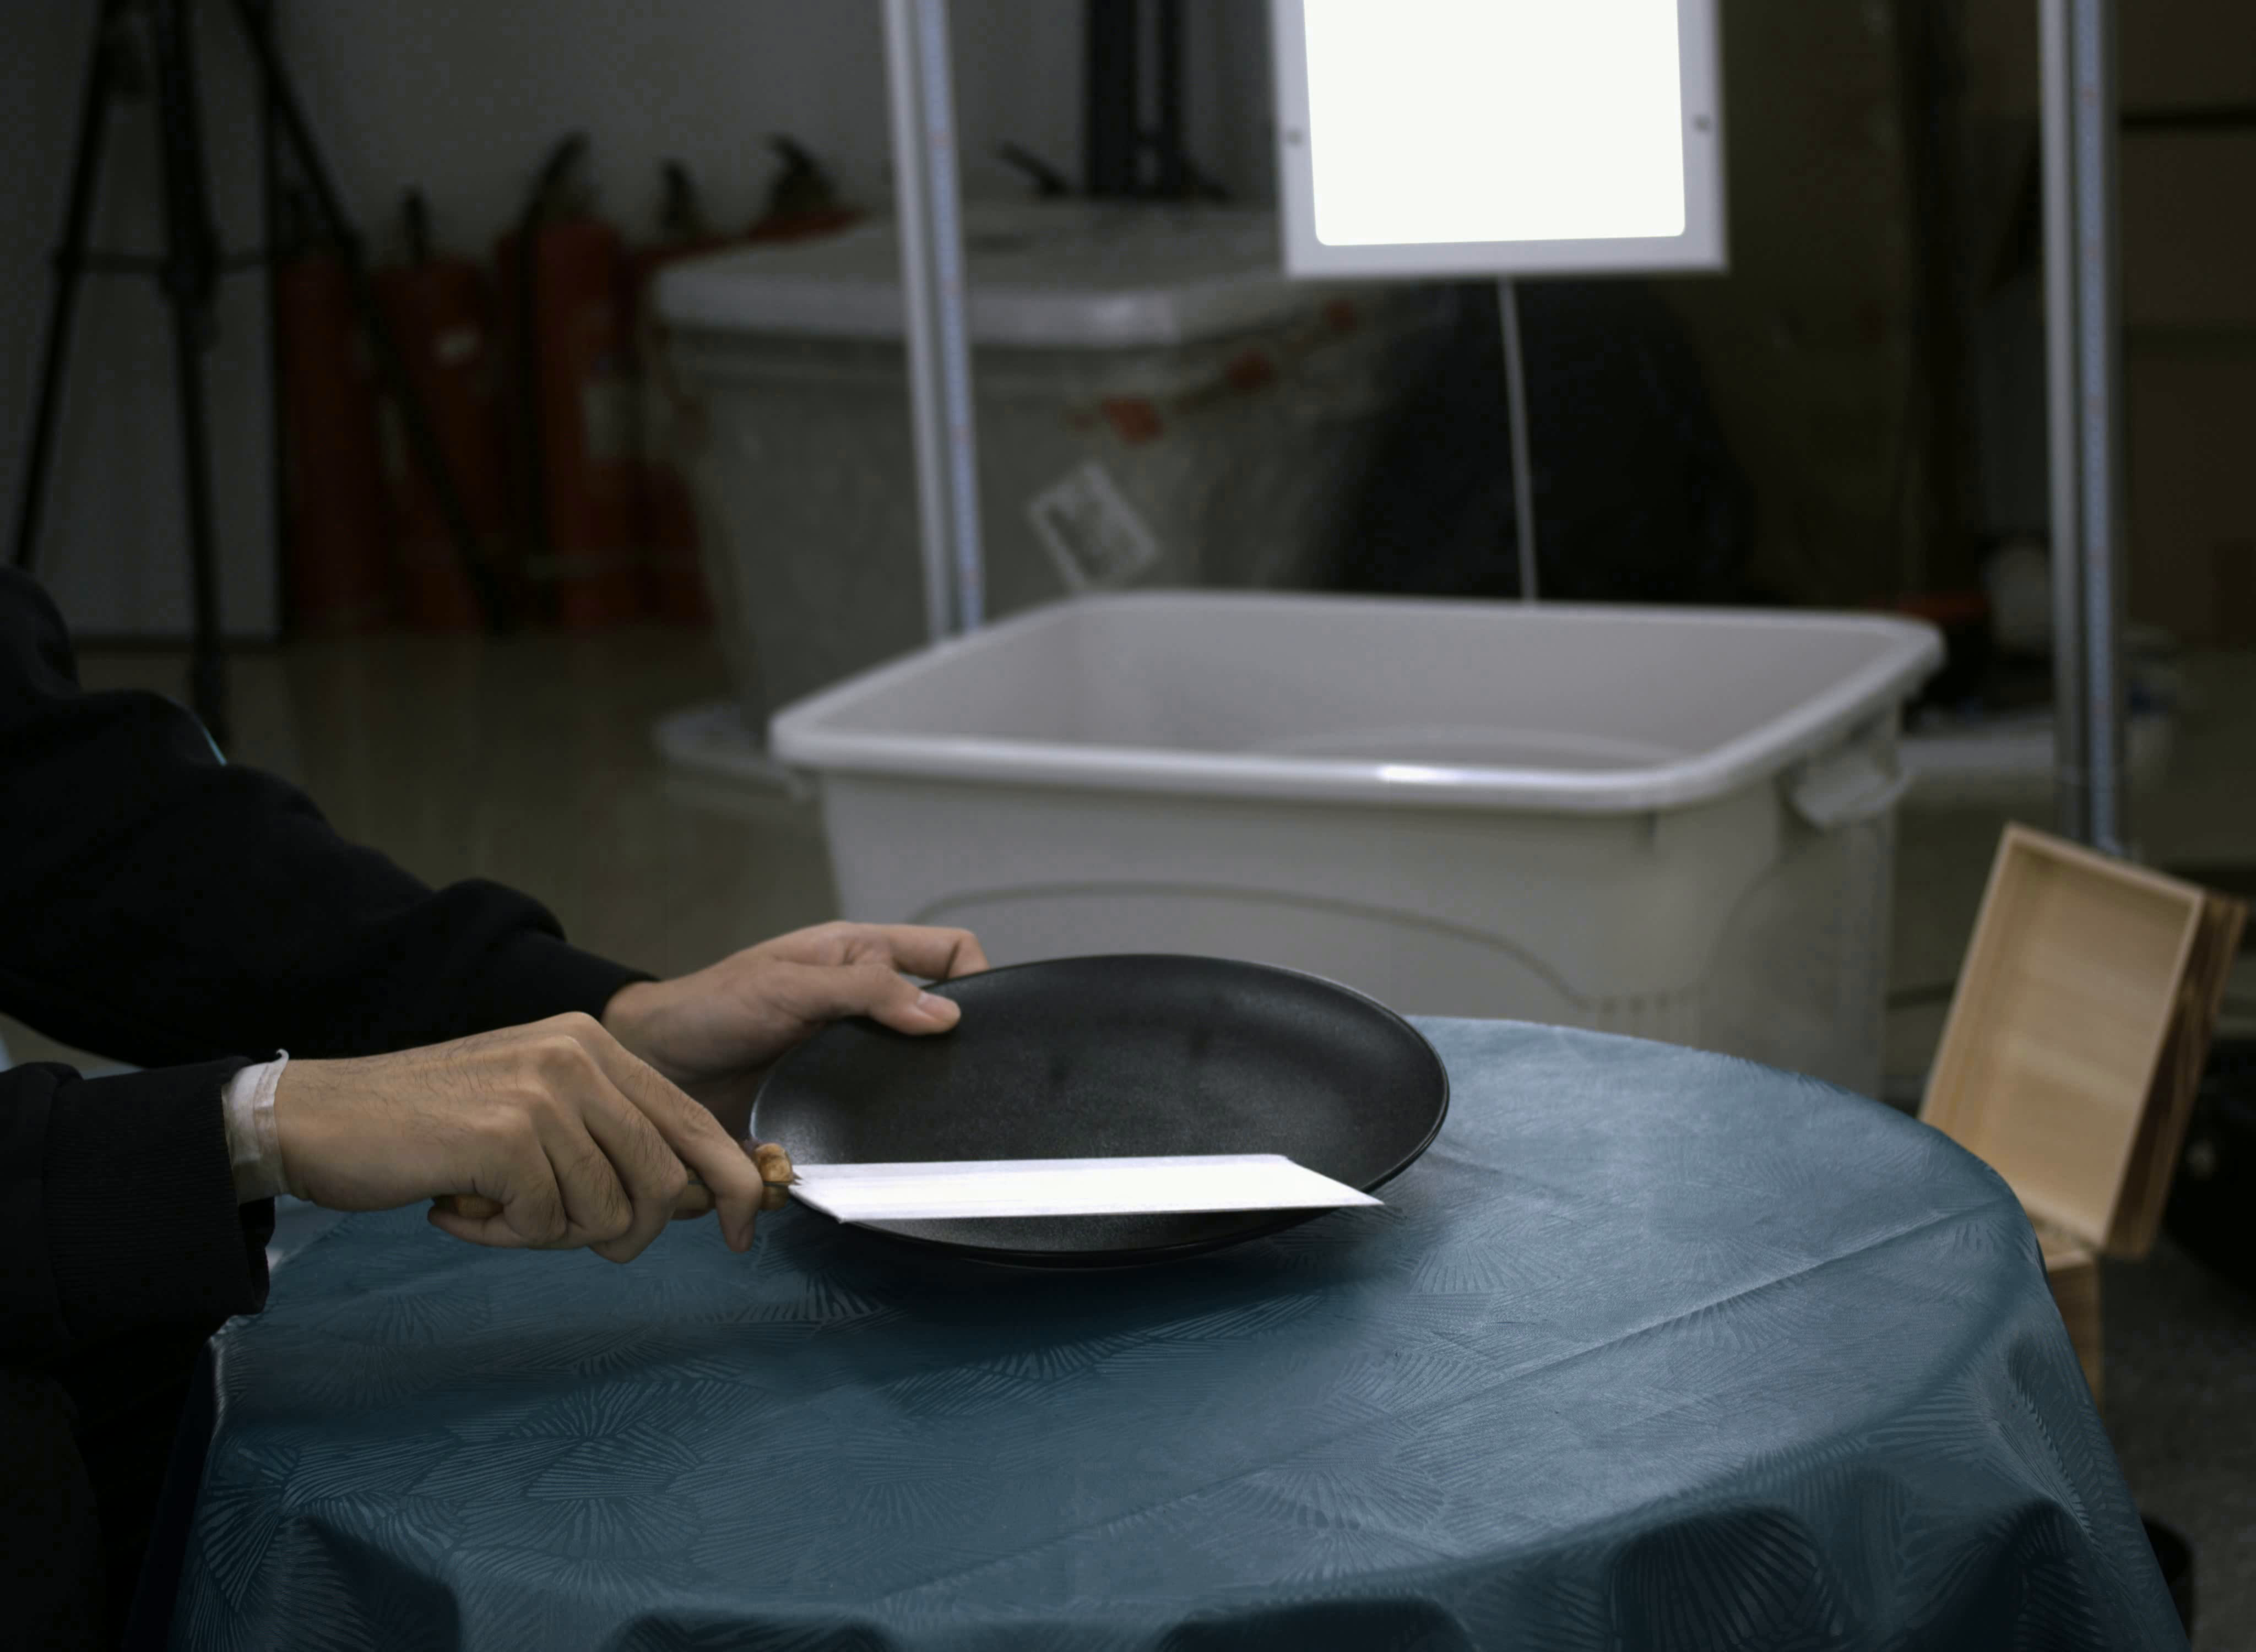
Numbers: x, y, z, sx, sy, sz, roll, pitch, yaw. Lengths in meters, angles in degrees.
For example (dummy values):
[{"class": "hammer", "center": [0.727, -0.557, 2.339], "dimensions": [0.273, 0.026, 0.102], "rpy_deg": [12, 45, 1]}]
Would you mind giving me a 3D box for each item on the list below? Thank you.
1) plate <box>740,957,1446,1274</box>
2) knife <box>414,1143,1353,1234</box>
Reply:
[{"class": "plate", "center": [-0.011, 0.103, 1.895], "dimensions": [0.244, 0.023, 0.244], "rpy_deg": [-5, 22, 0]}, {"class": "knife", "center": [-0.073, 0.118, 1.775], "dimensions": [0.300, 0.021, 0.094], "rpy_deg": [0, 8, -21]}]
